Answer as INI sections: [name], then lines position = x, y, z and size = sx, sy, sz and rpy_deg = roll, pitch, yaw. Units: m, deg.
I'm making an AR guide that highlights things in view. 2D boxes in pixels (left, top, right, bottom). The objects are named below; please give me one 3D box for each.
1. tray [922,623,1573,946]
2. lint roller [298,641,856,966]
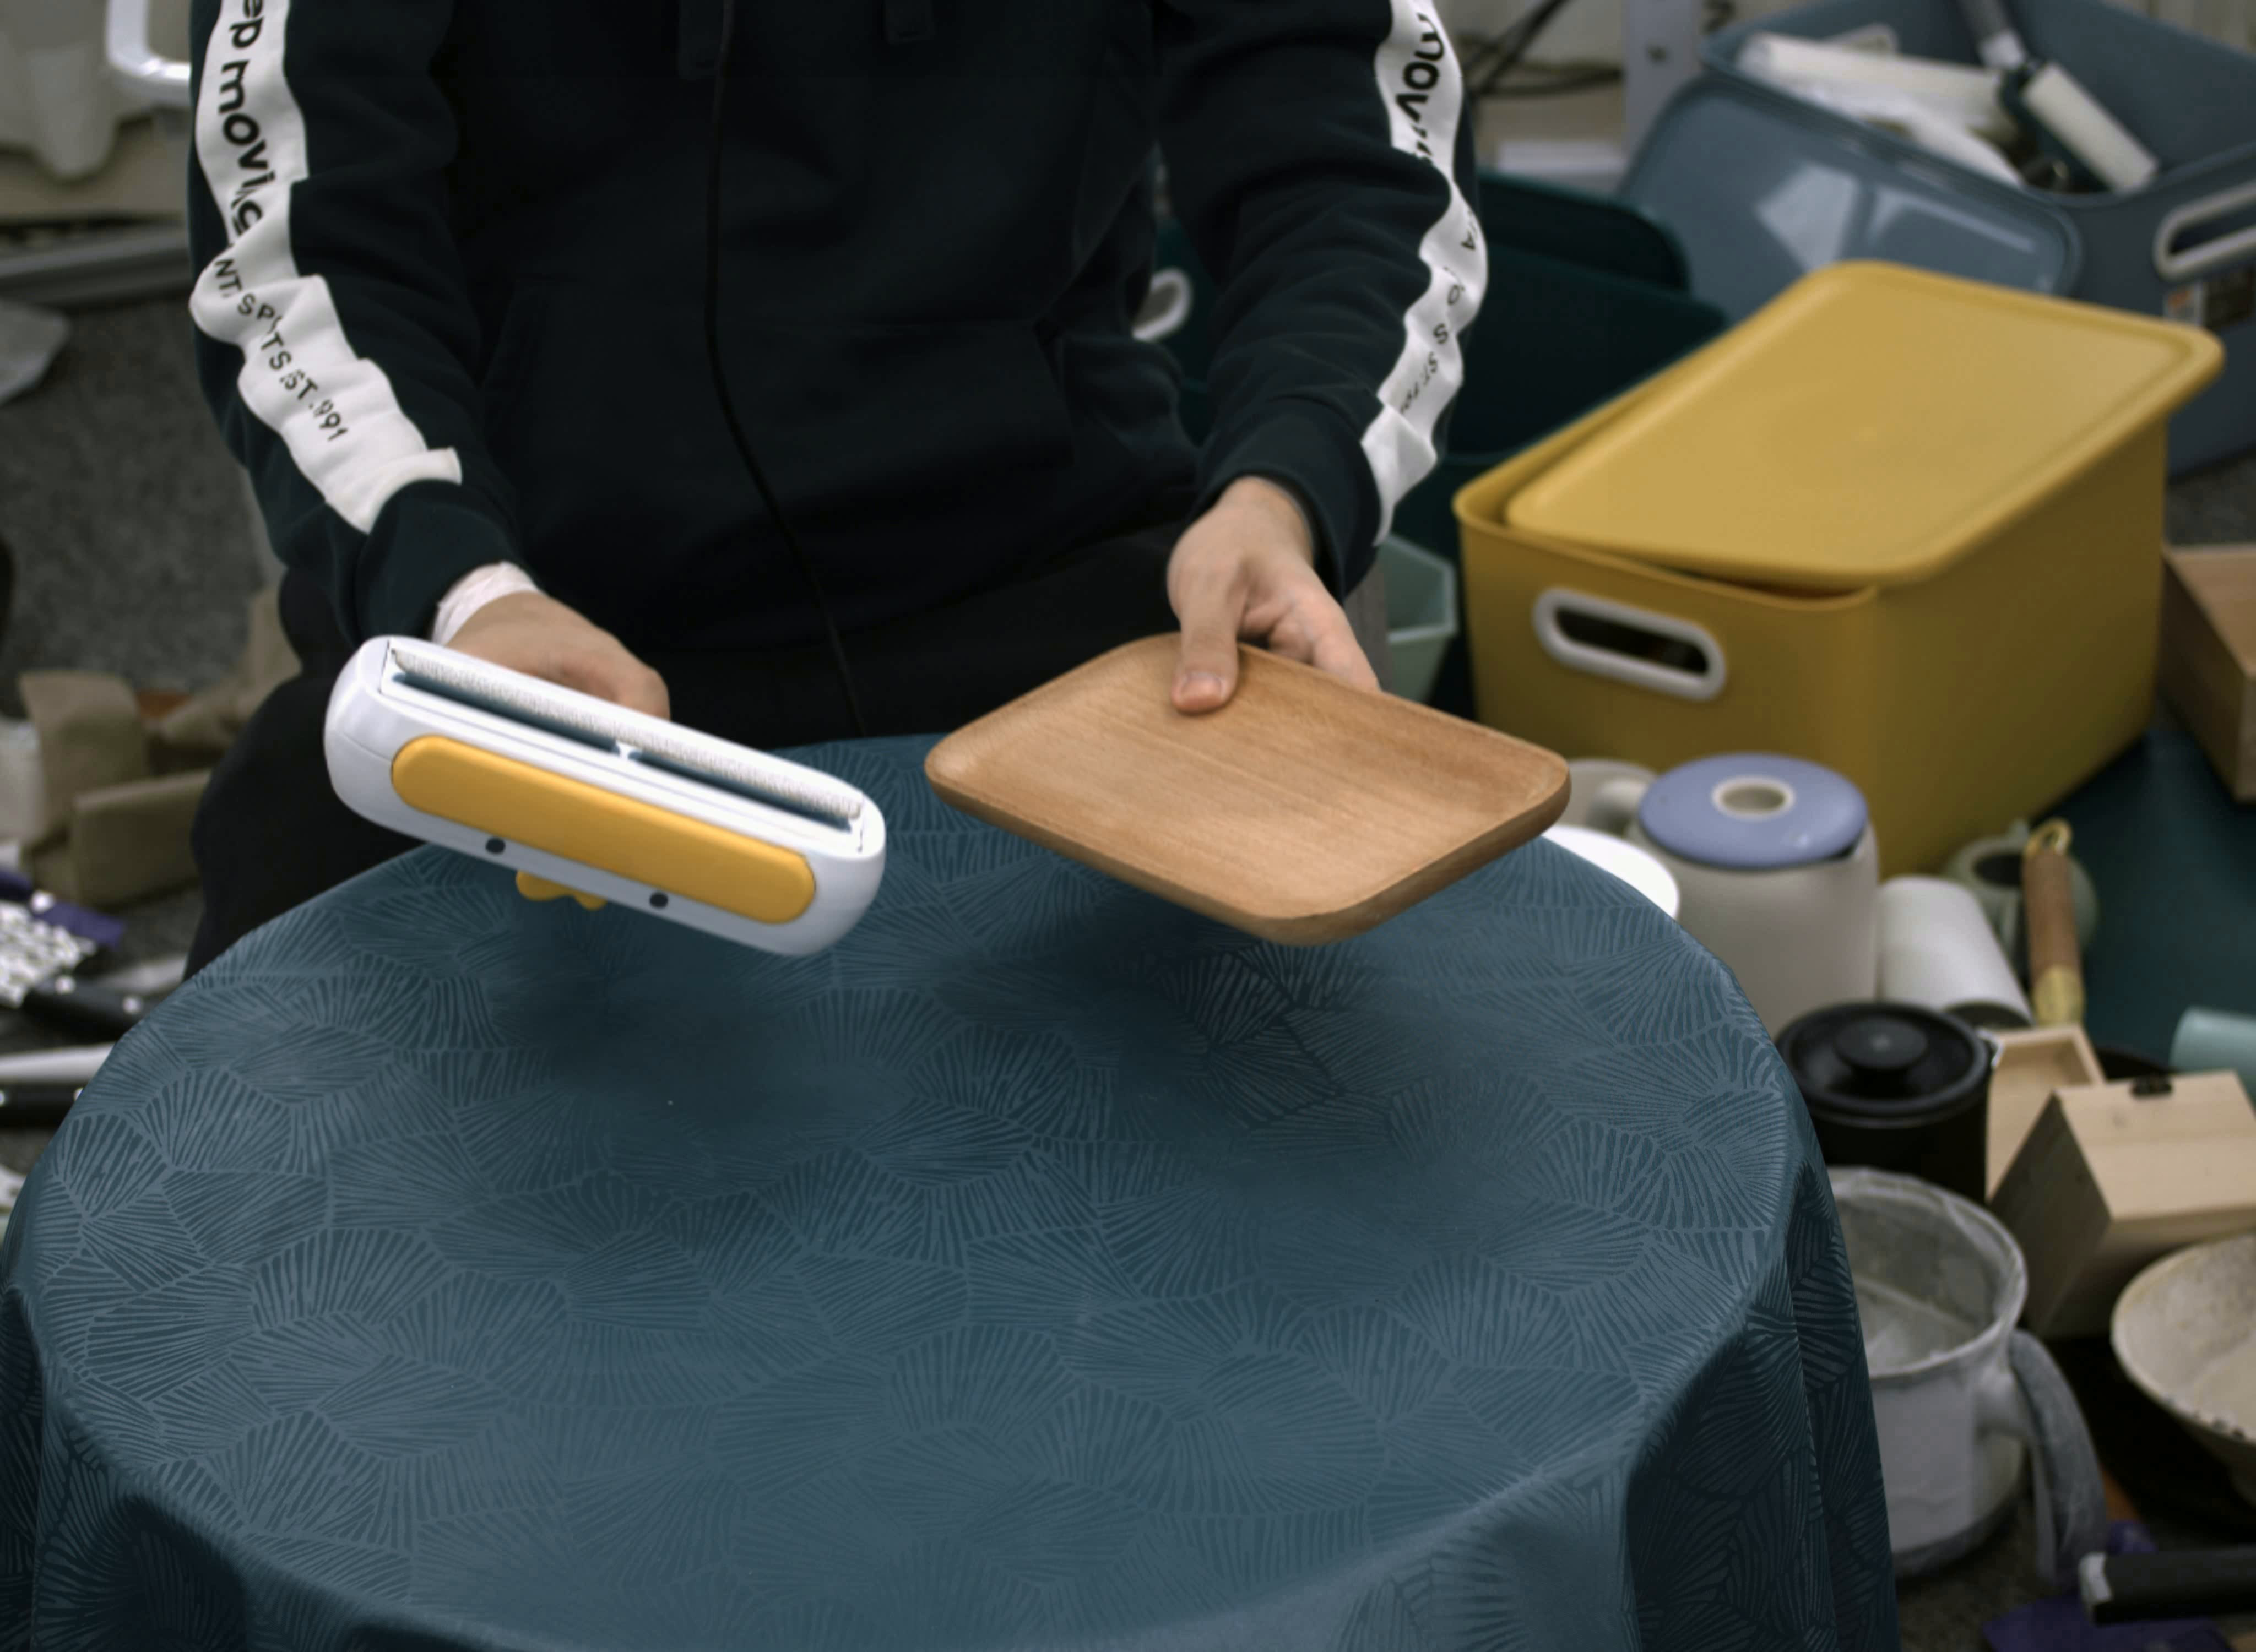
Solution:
[tray]
position = 0.038, -0.016, 1.912
size = 0.132, 0.023, 0.250
rpy_deg = -25, 26, -27
[lint roller]
position = -0.190, -0.006, 1.935
size = 0.192, 0.074, 0.192
rpy_deg = 17, 3, -5
